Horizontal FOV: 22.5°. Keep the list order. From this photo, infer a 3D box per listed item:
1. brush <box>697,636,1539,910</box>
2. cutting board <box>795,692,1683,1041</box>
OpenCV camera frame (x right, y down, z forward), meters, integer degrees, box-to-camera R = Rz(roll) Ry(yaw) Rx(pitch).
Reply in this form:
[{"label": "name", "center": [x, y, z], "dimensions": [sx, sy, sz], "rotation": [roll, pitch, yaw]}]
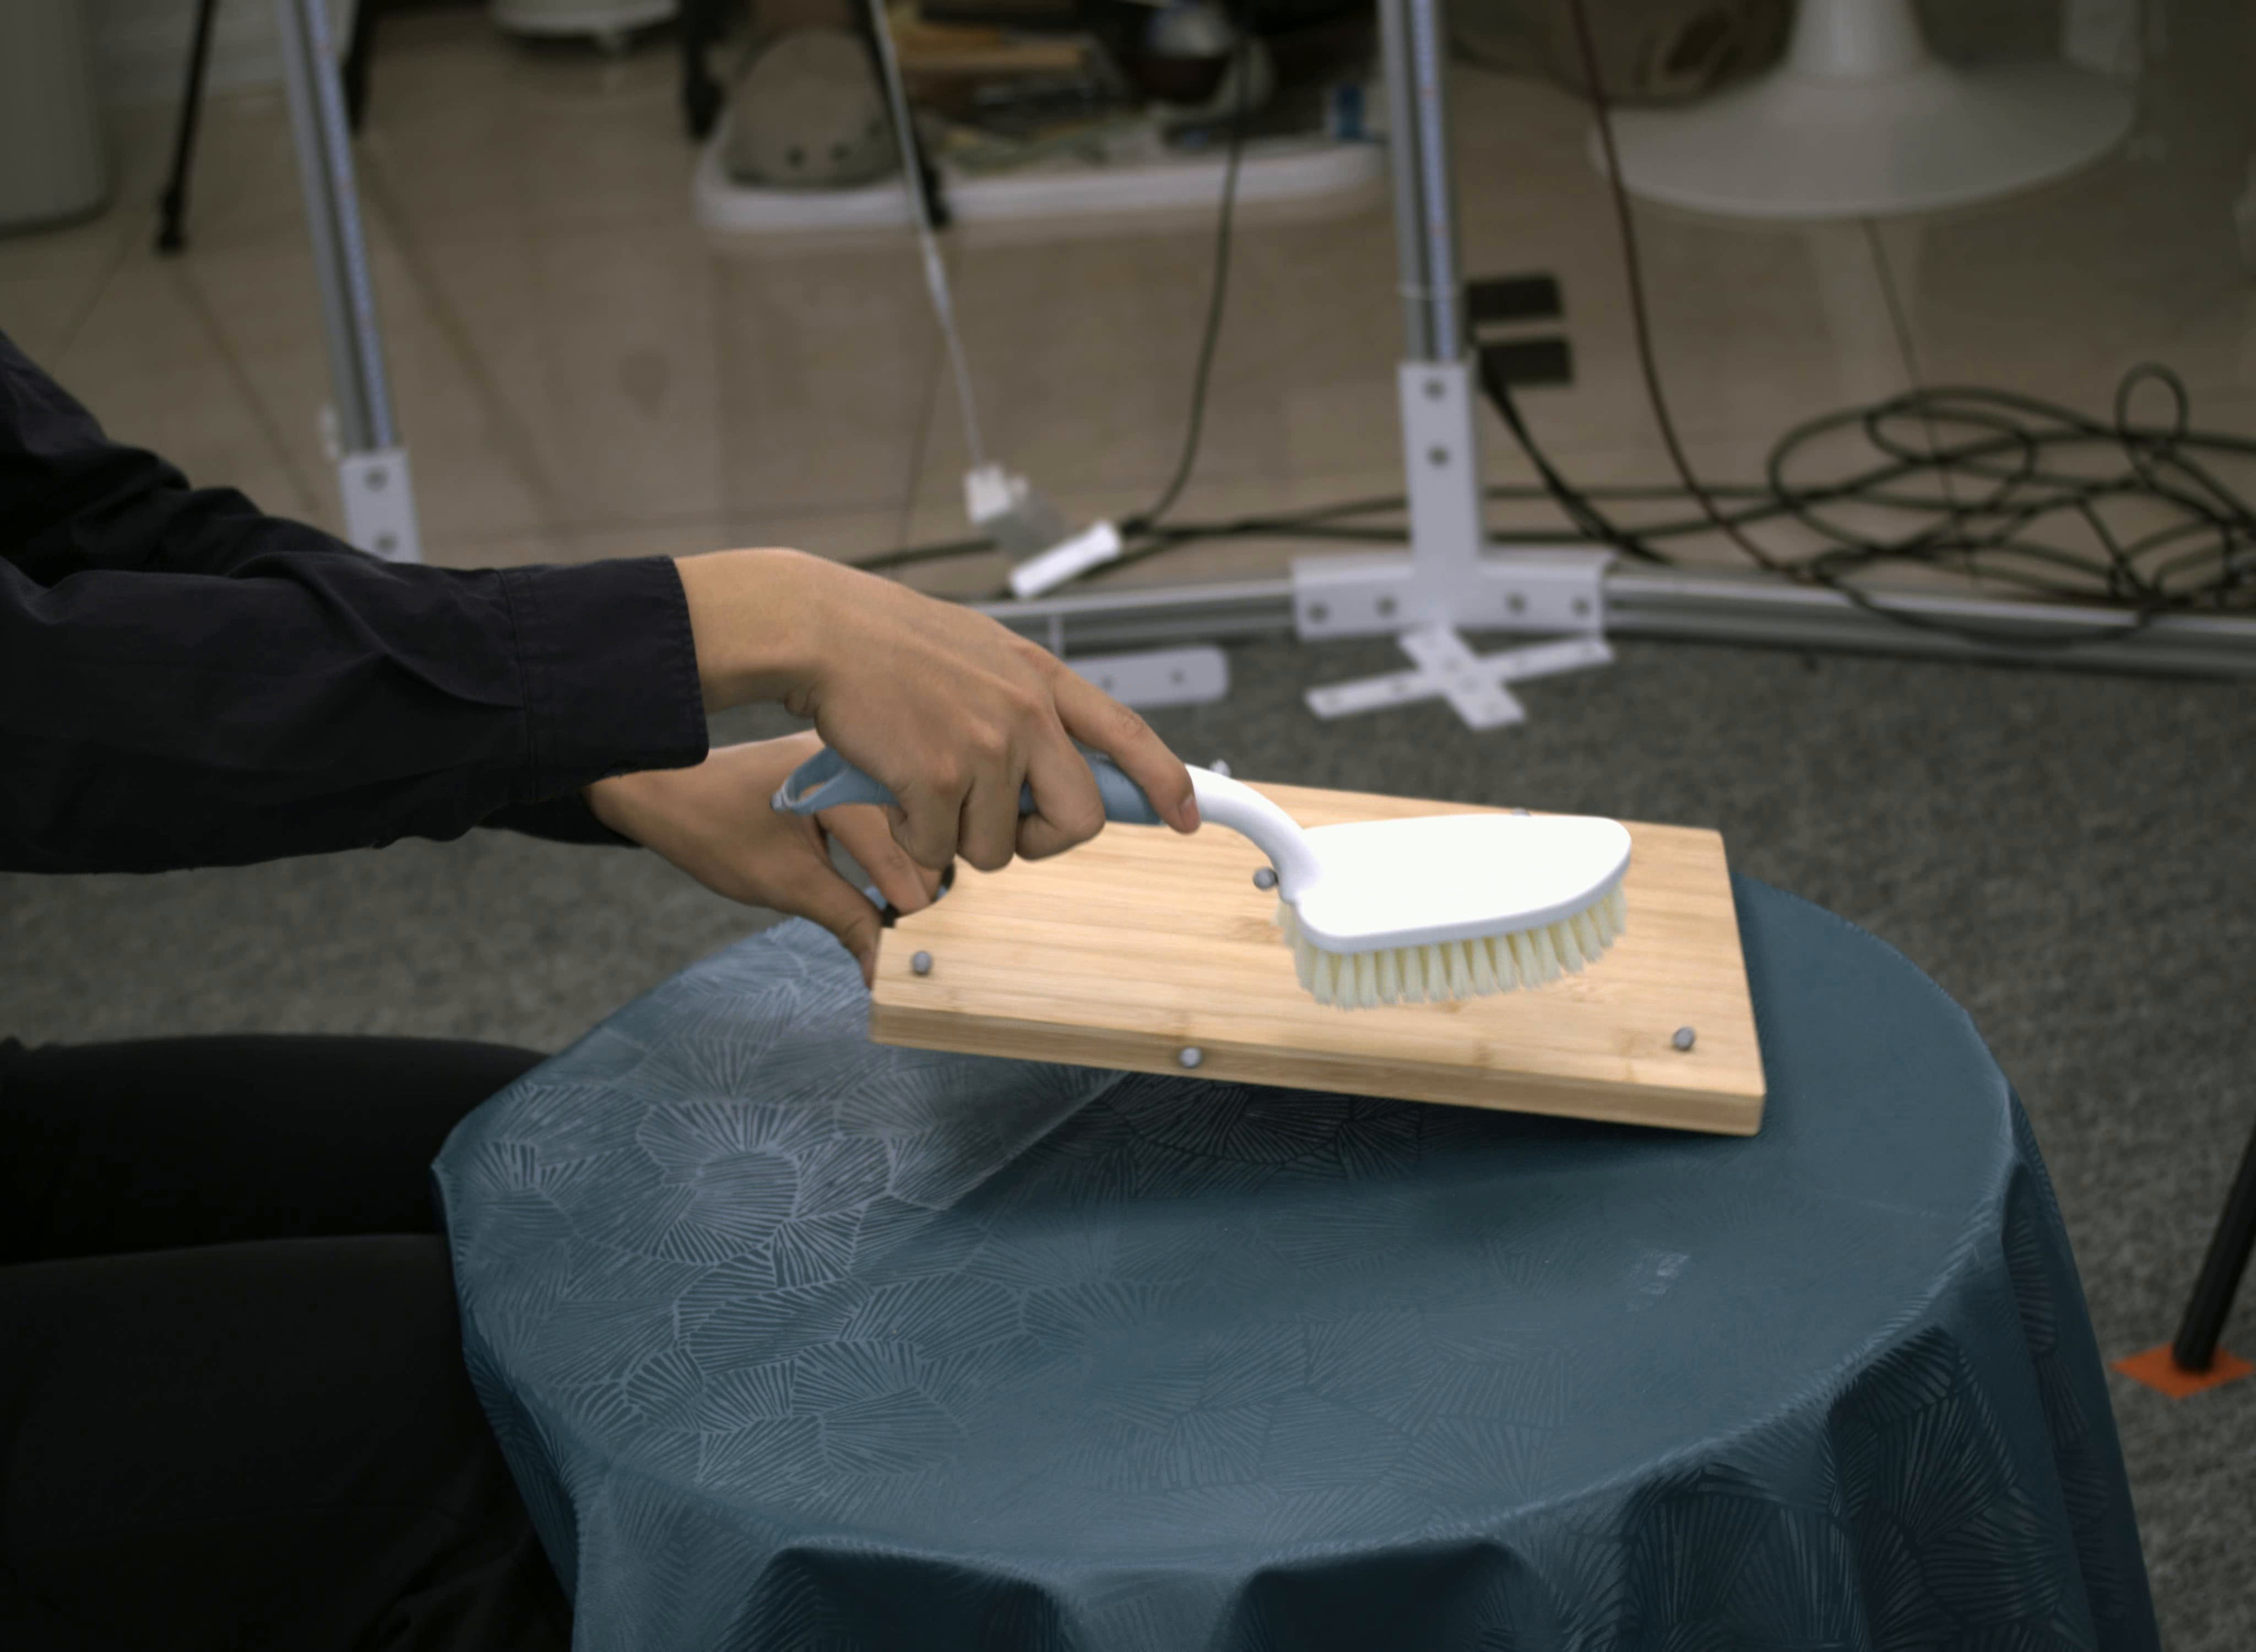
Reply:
[{"label": "brush", "center": [-0.005, -0.015, 2.095], "dimensions": [0.325, 0.084, 0.083], "rotation": [4, -2, -16]}, {"label": "cutting board", "center": [0.047, 0.008, 2.262], "dimensions": [0.348, 0.024, 0.247], "rotation": [5, 25, -3]}]
